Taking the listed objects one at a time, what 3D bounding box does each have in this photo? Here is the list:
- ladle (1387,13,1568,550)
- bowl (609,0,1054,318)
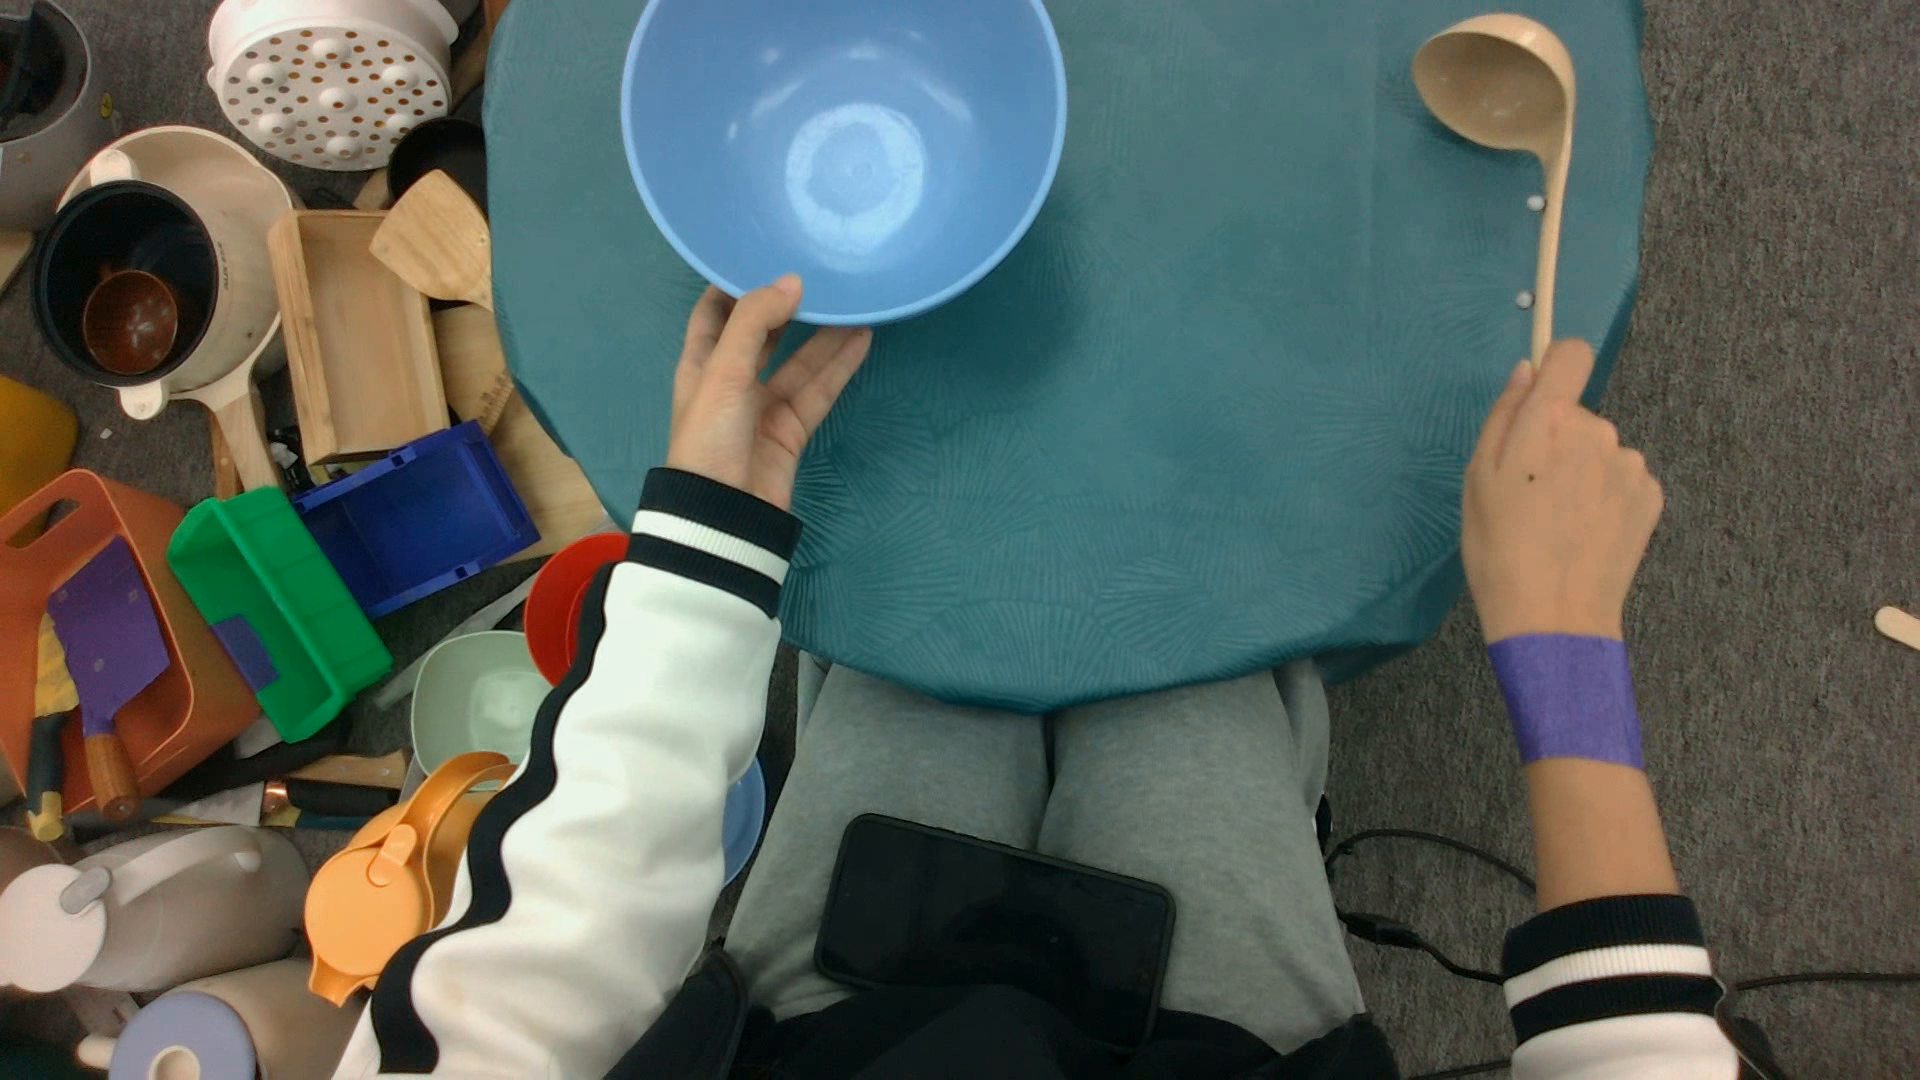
[{"bbox_3d":[0.231,-0.121,0.621,0.073,0.072,0.255,10,70,-12],"label":"ladle"},{"bbox_3d":[-0.057,-0.191,0.653,0.196,0.095,0.196,0,84,-1],"label":"bowl"}]
